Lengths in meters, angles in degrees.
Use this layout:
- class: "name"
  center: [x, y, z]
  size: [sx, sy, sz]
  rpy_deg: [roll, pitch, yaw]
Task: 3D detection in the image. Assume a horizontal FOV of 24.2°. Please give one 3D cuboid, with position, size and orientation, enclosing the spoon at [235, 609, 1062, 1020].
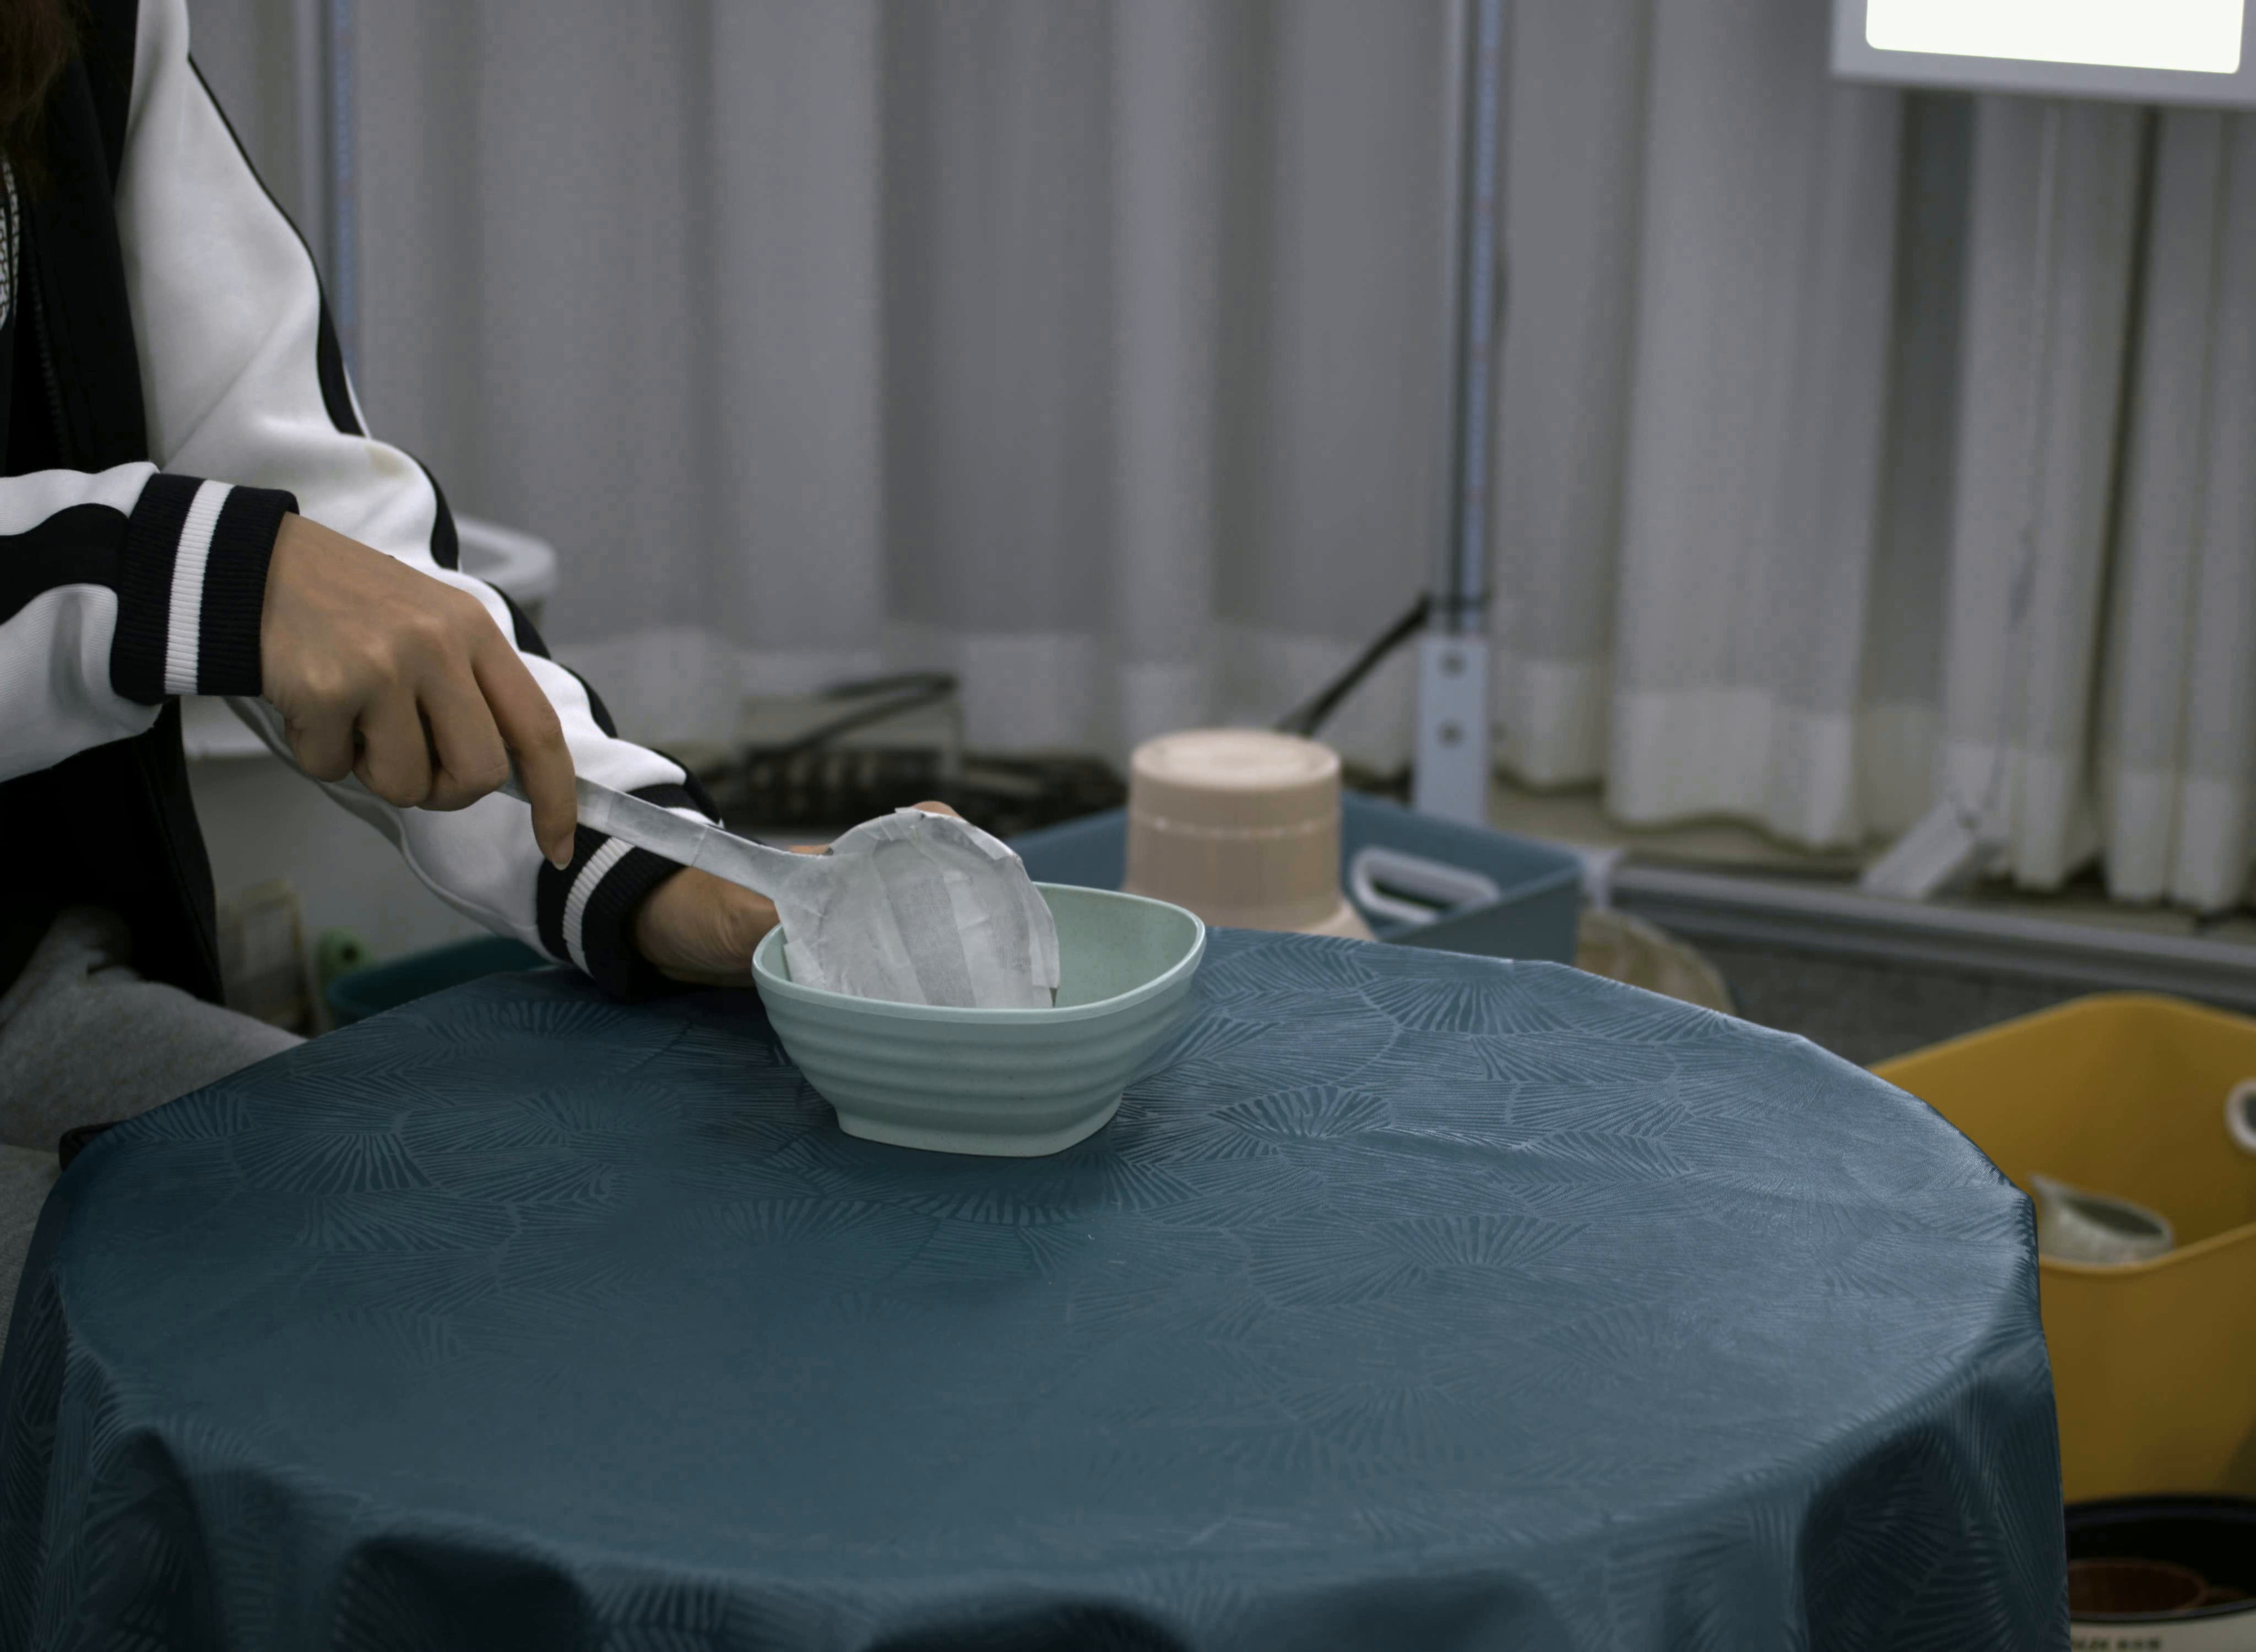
- class: "spoon"
  center: [-0.148, -0.003, 1.640]
  size: [0.279, 0.101, 0.059]
  rpy_deg: [25, 11, -21]

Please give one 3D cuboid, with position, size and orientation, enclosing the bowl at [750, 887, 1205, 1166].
- class: "bowl"
  center: [-0.047, 0.067, 1.686]
  size: [0.151, 0.059, 0.150]
  rpy_deg: [1, 16, 0]
